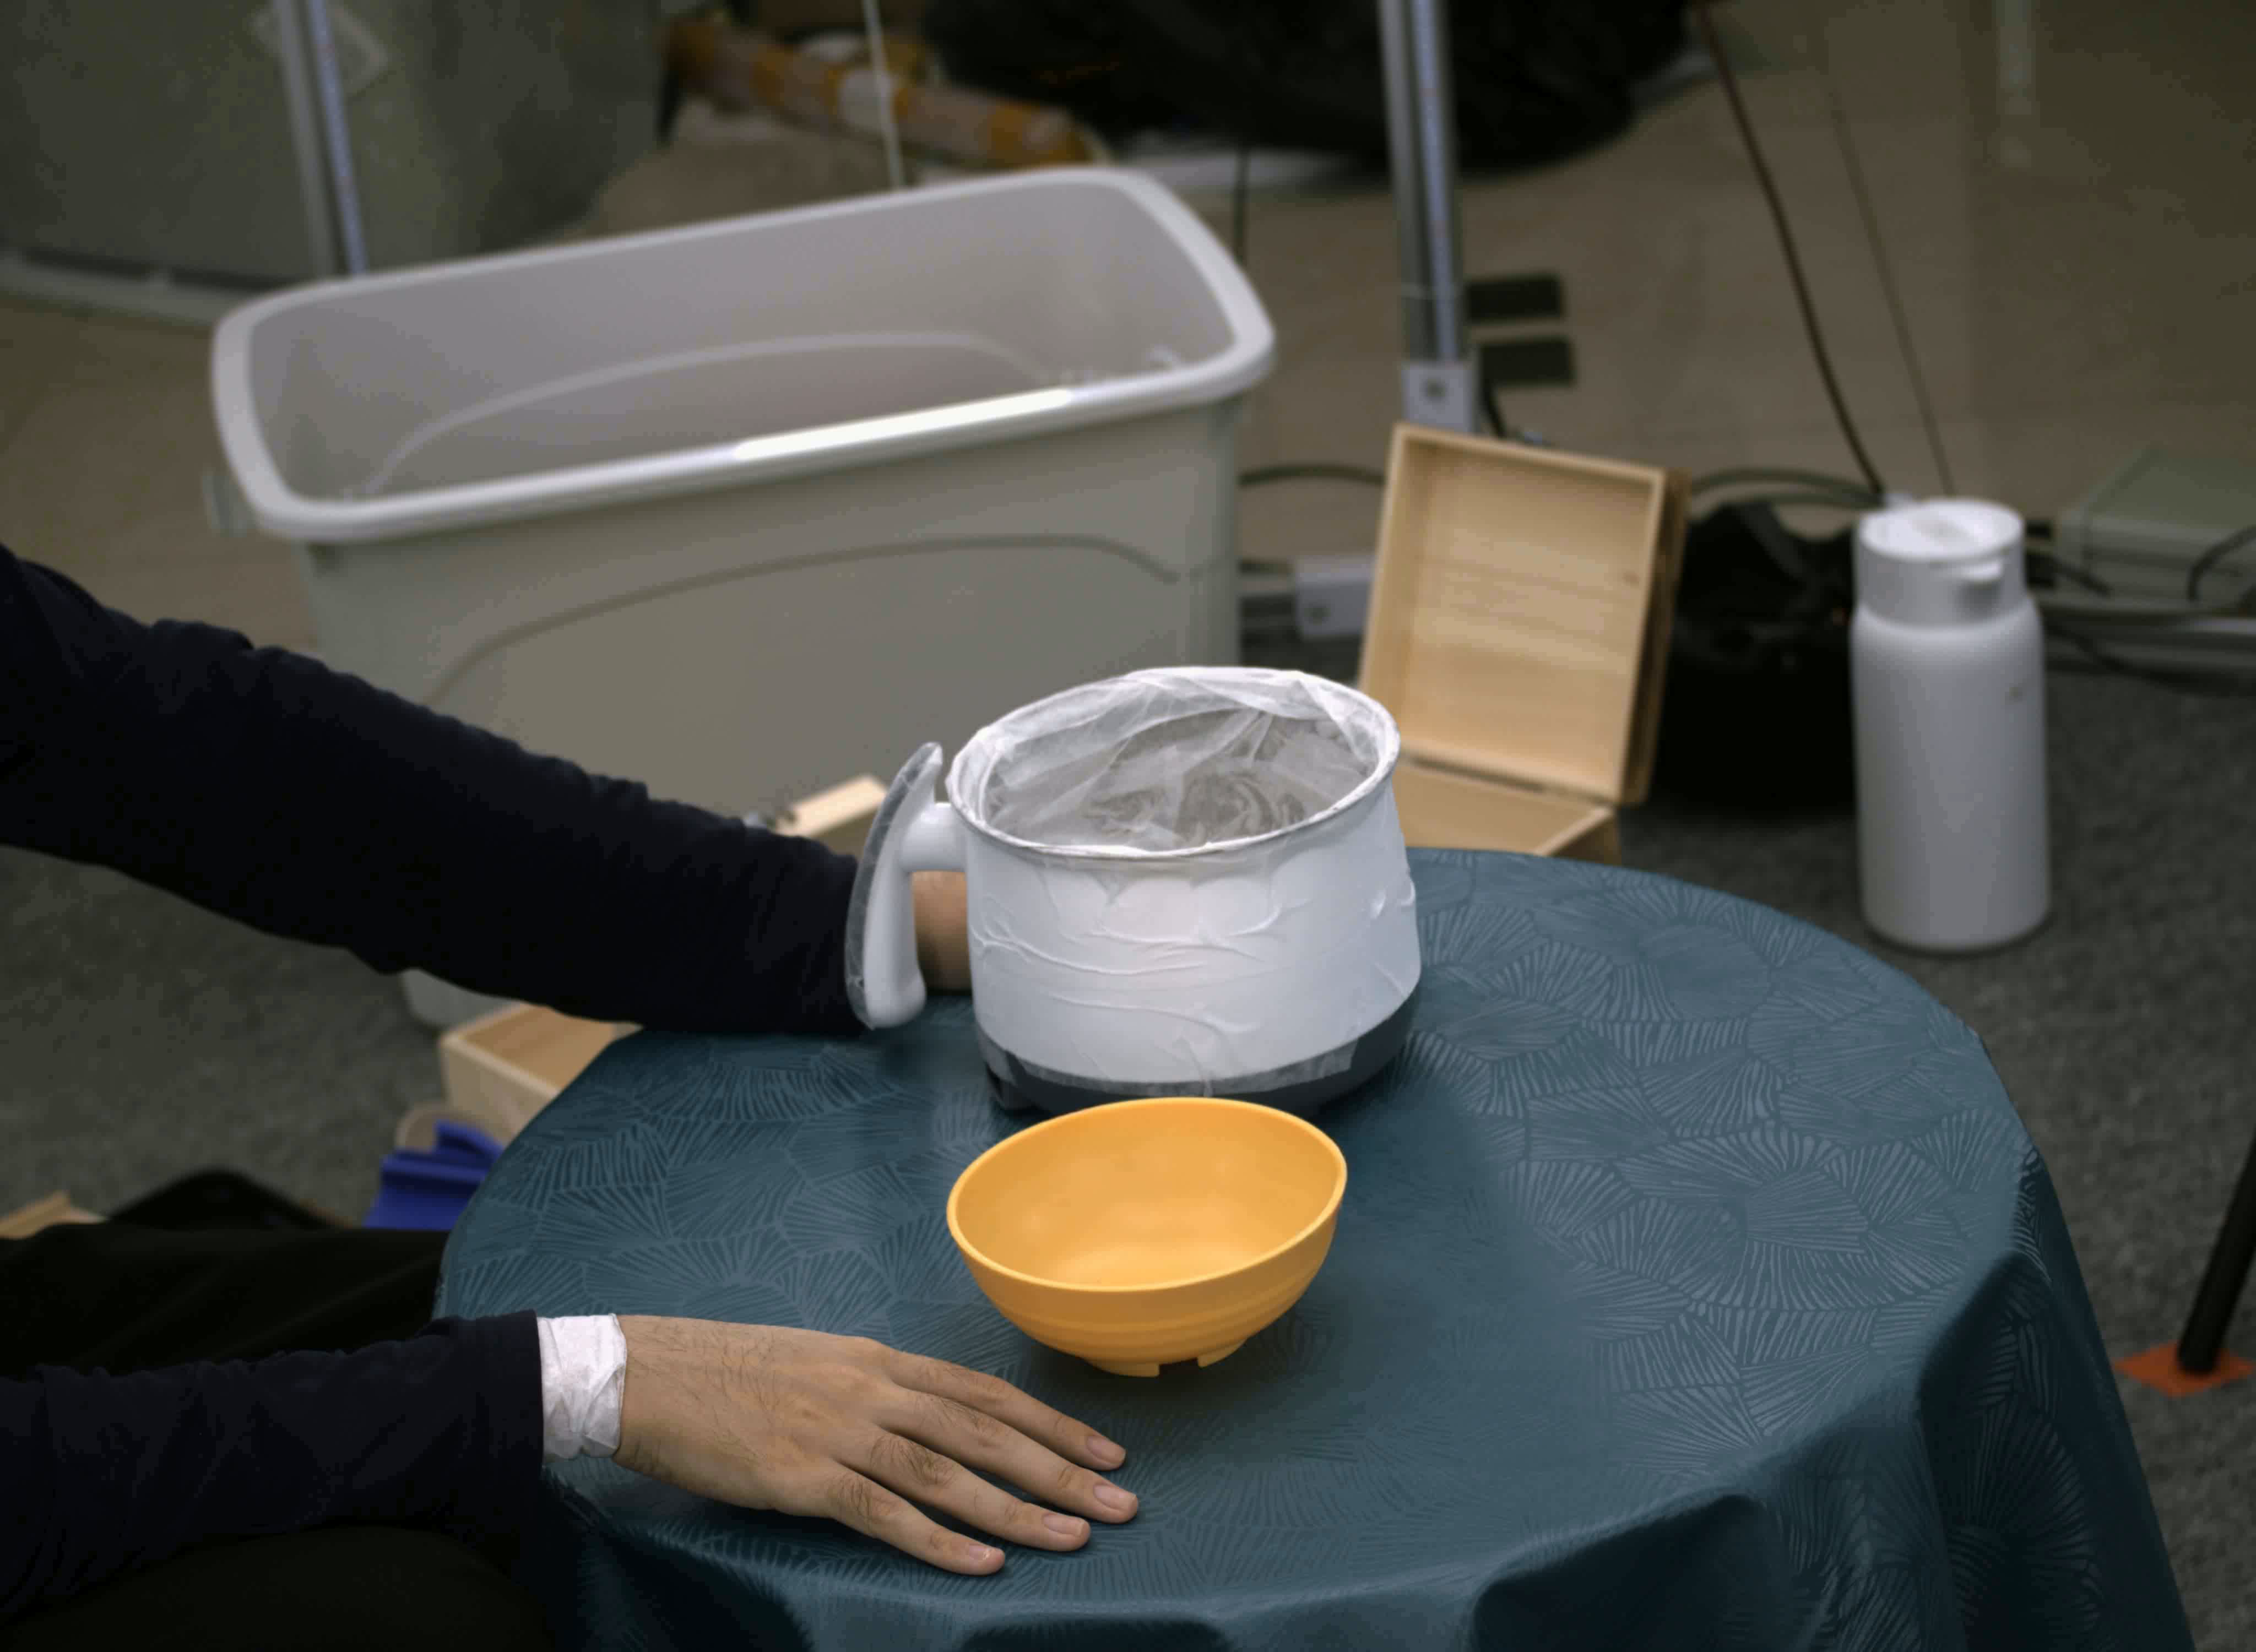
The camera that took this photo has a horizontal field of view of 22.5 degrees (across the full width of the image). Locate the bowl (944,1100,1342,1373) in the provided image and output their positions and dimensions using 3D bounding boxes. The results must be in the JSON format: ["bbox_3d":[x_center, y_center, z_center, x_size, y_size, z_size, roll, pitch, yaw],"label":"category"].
[{"bbox_3d":[0.008,0.155,2.039,0.145,0.061,0.143,-5,24,2],"label":"bowl"}]

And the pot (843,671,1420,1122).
[{"bbox_3d":[-0.002,0.030,2.220,0.233,0.138,0.176,1,24,14],"label":"pot"}]
